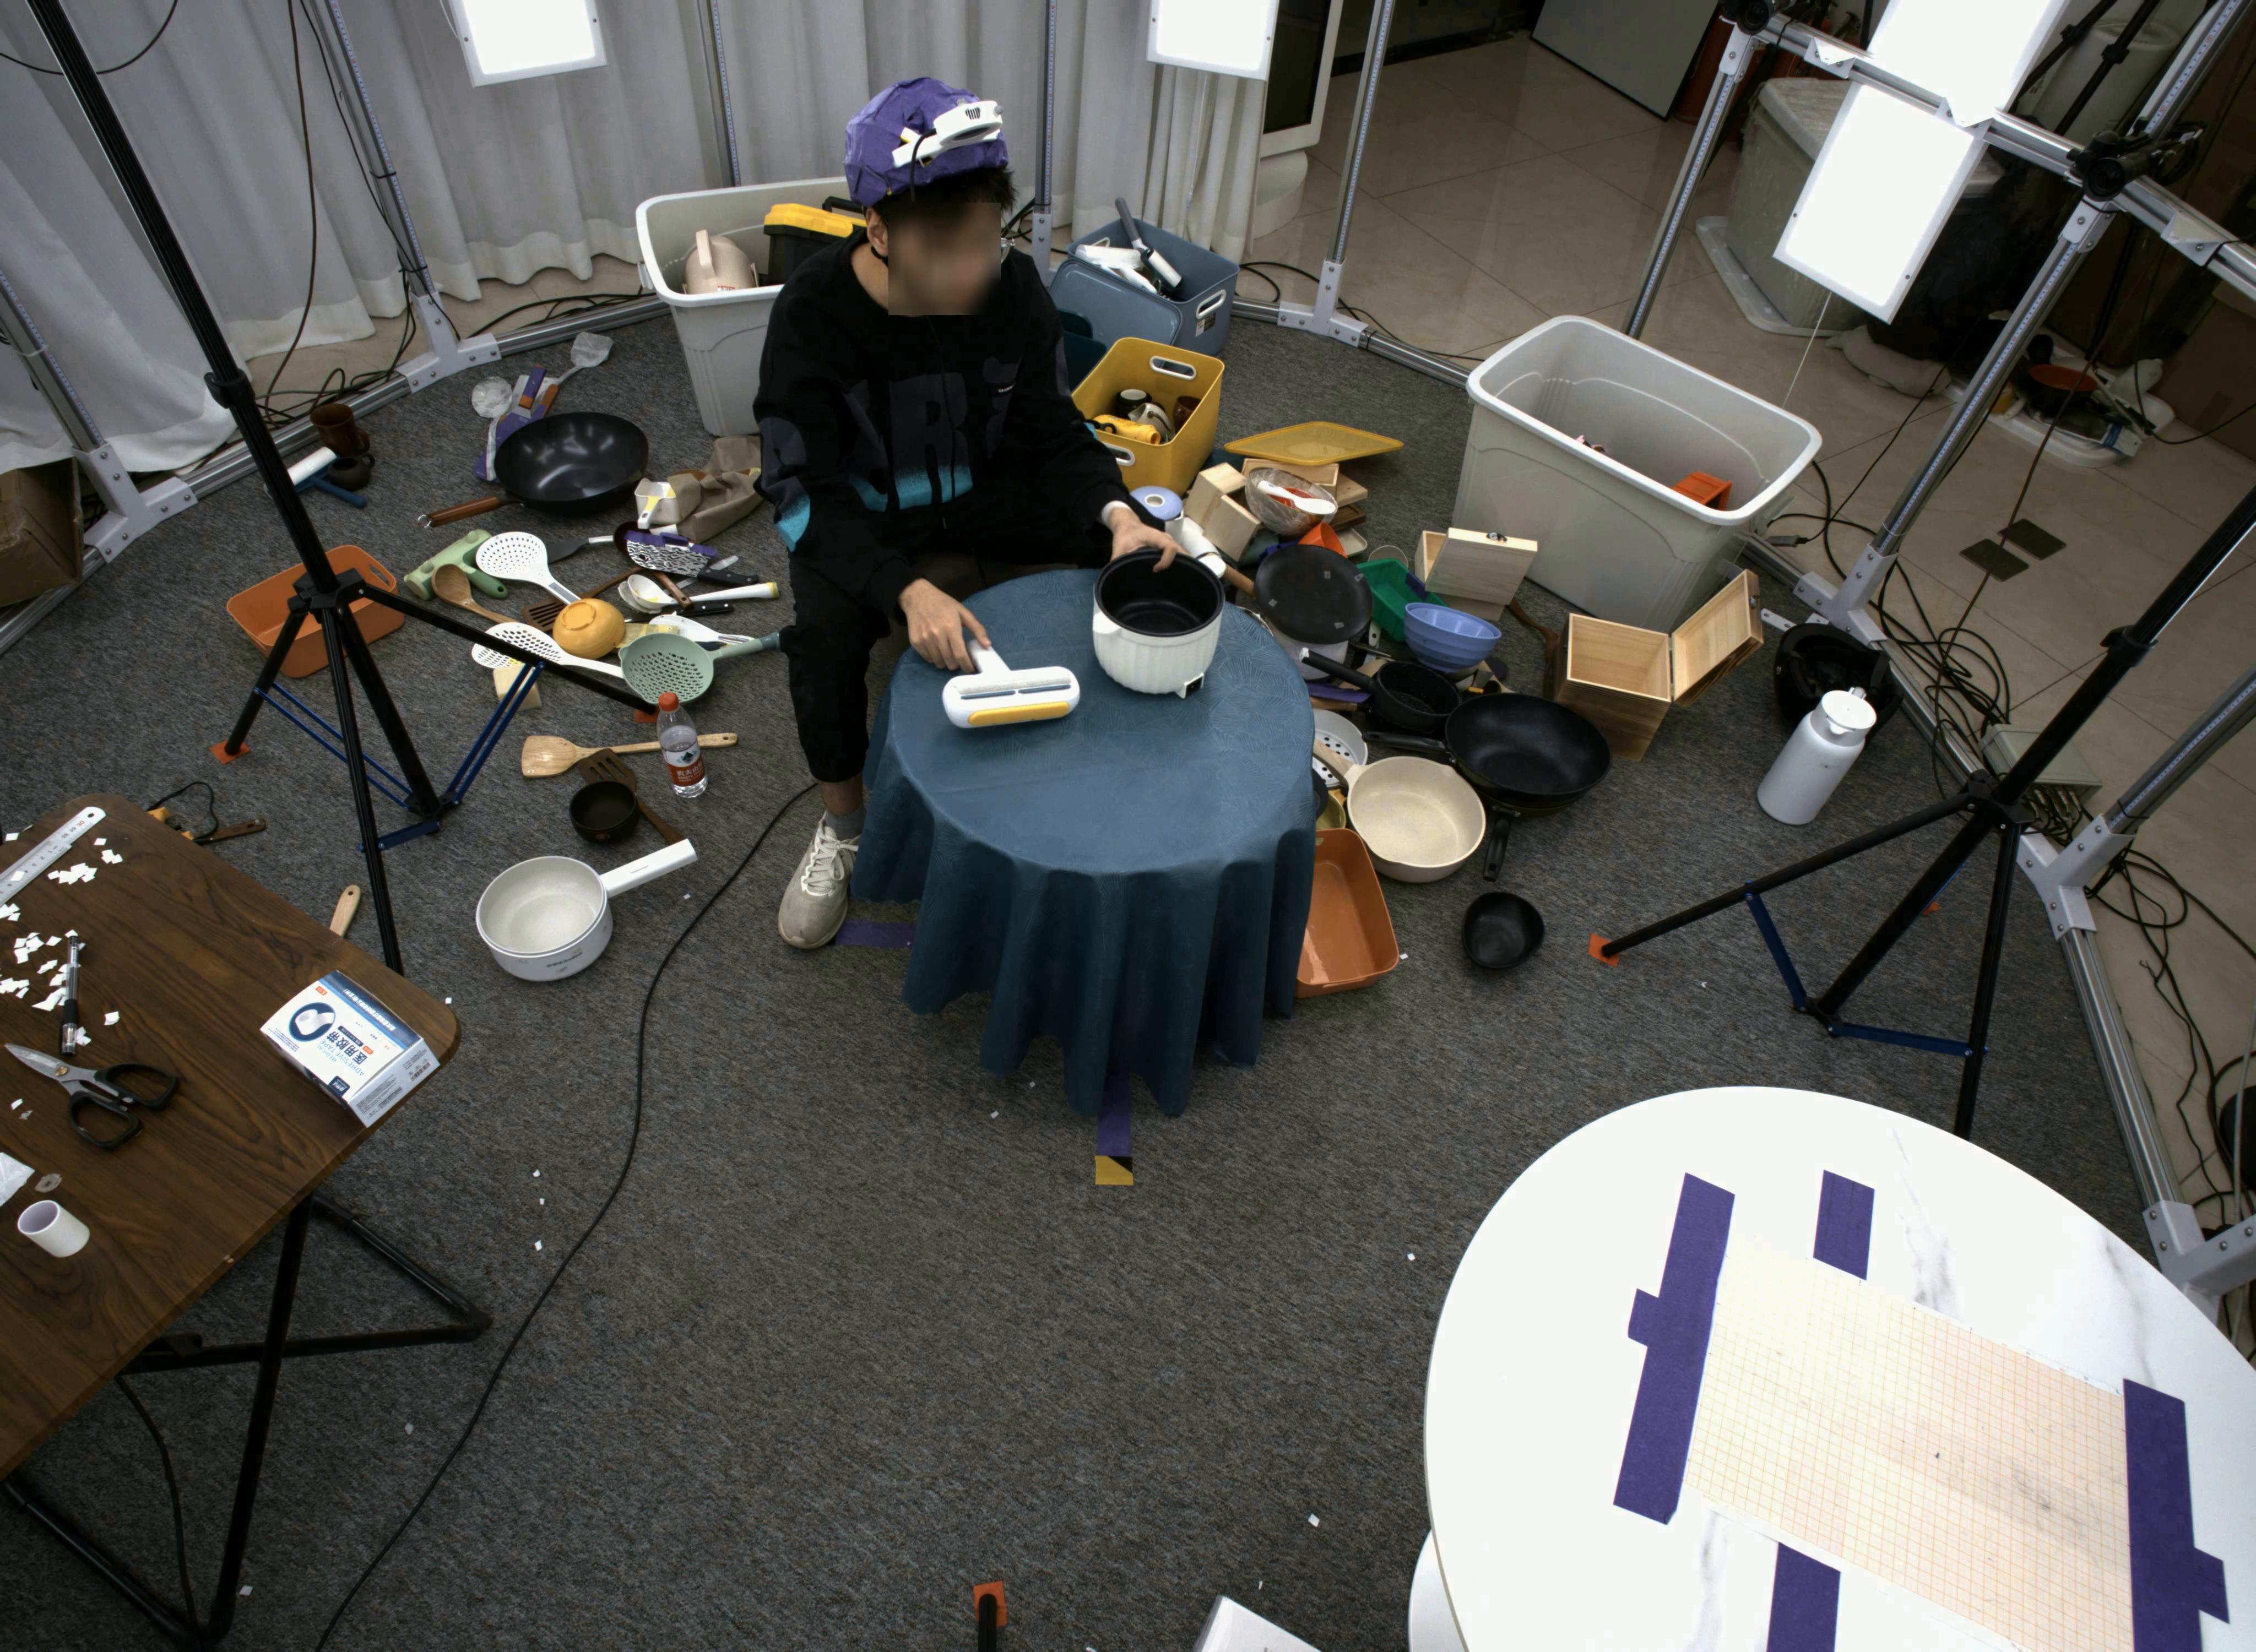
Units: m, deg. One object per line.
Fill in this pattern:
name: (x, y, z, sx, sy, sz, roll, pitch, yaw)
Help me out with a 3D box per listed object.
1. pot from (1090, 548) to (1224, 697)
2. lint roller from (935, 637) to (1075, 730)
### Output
pot: (0.035, -0.287, 1.829, 0.242, 0.139, 0.193, -32, 61, -29)
lint roller: (-0.186, -0.213, 1.797, 0.192, 0.072, 0.197, -9, 49, -18)
